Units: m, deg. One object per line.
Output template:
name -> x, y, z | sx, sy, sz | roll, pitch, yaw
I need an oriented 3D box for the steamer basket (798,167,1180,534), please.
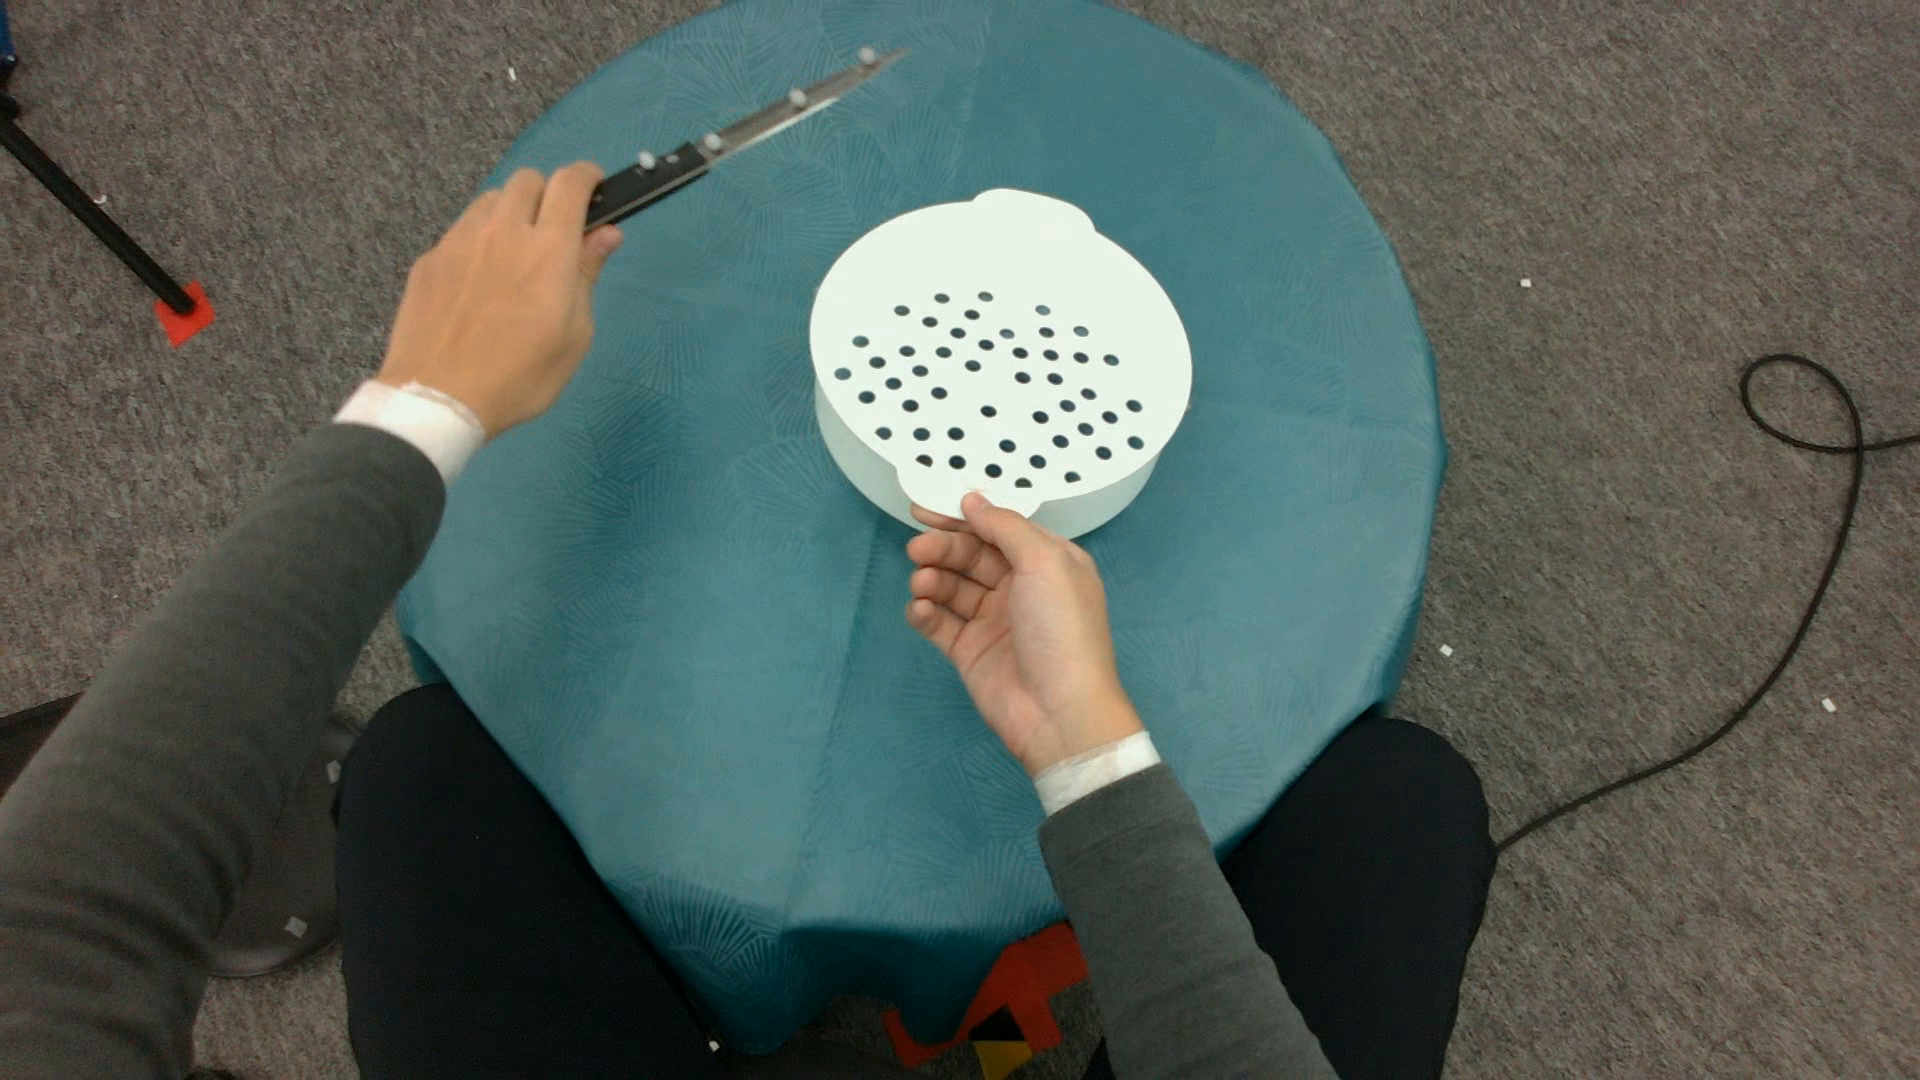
steamer basket -> 0.014, -0.098, 0.748 | 0.202, 0.069, 0.231 | 12, 60, 1

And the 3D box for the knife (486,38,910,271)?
knife -> -0.125, -0.194, 0.683 | 0.238, 0.016, 0.024 | -31, 58, -10
